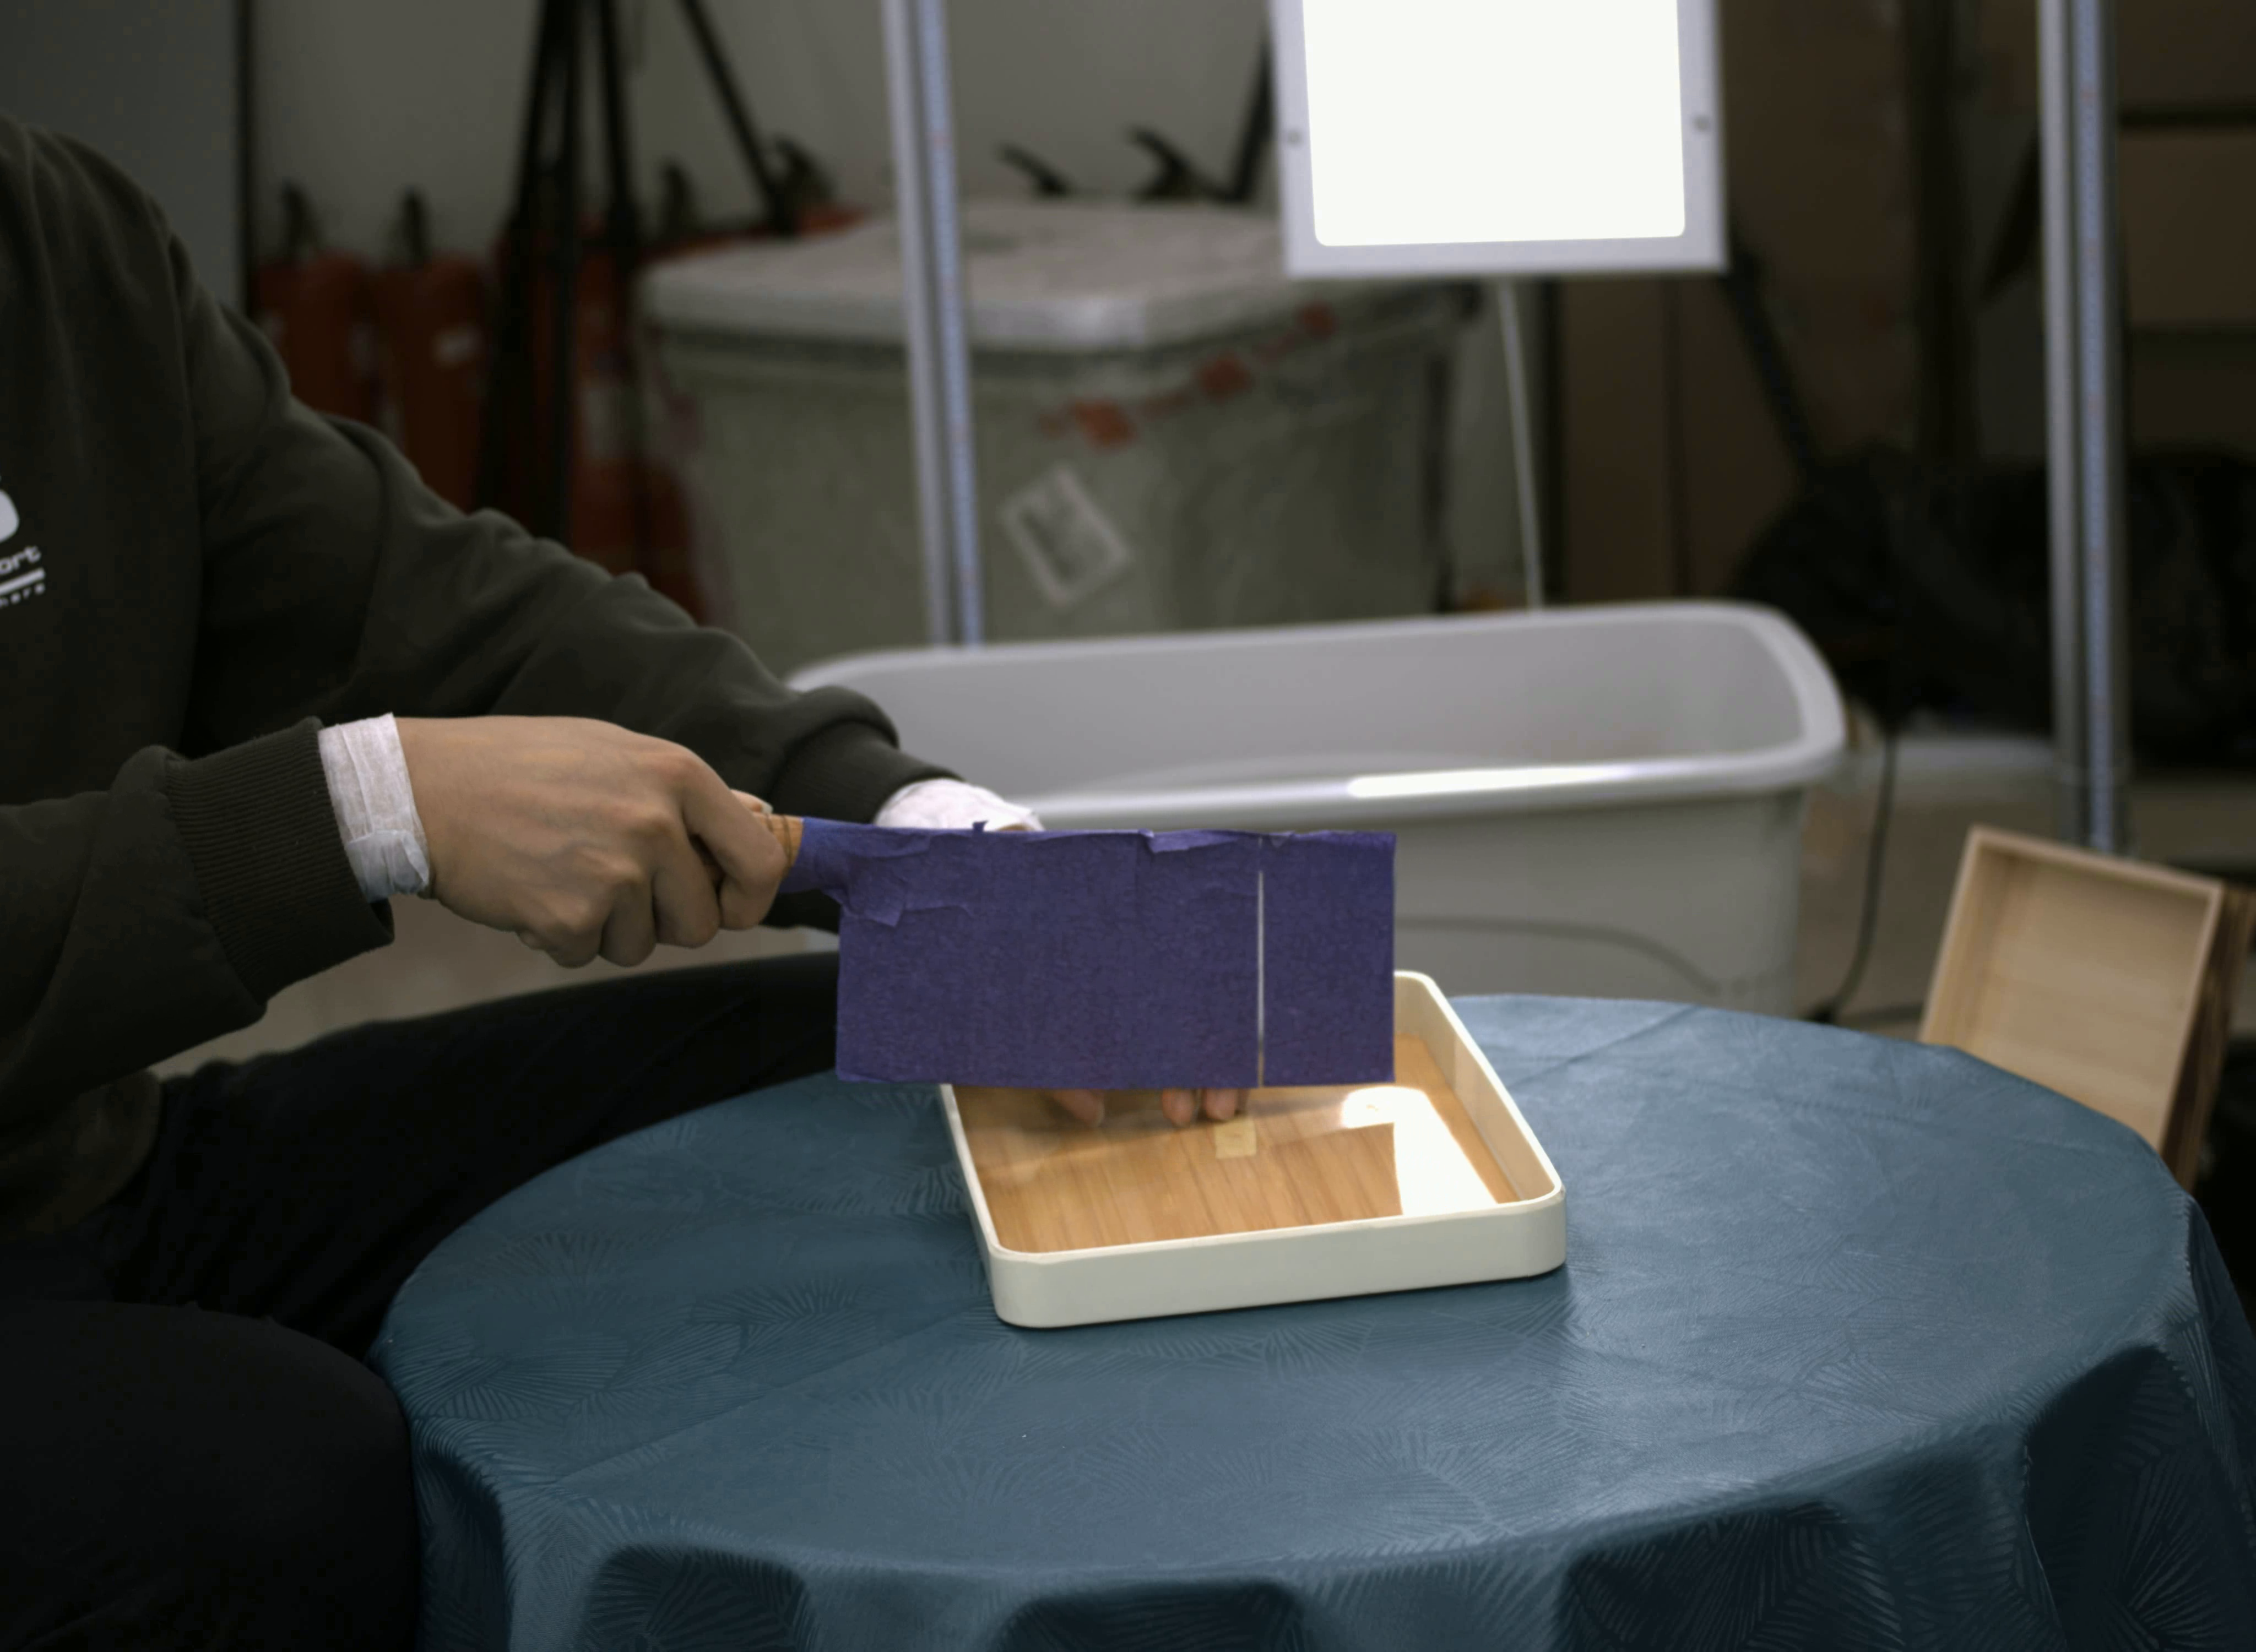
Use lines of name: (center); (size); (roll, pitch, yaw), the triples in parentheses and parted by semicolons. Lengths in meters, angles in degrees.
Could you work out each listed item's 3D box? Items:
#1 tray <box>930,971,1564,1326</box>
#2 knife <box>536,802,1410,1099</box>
tray: (0.034, 0.108, 1.909); (0.190, 0.027, 0.301); (-6, 14, -4)
knife: (-0.049, 0.043, 1.914); (0.311, 0.104, 0.032); (0, 2, -13)
